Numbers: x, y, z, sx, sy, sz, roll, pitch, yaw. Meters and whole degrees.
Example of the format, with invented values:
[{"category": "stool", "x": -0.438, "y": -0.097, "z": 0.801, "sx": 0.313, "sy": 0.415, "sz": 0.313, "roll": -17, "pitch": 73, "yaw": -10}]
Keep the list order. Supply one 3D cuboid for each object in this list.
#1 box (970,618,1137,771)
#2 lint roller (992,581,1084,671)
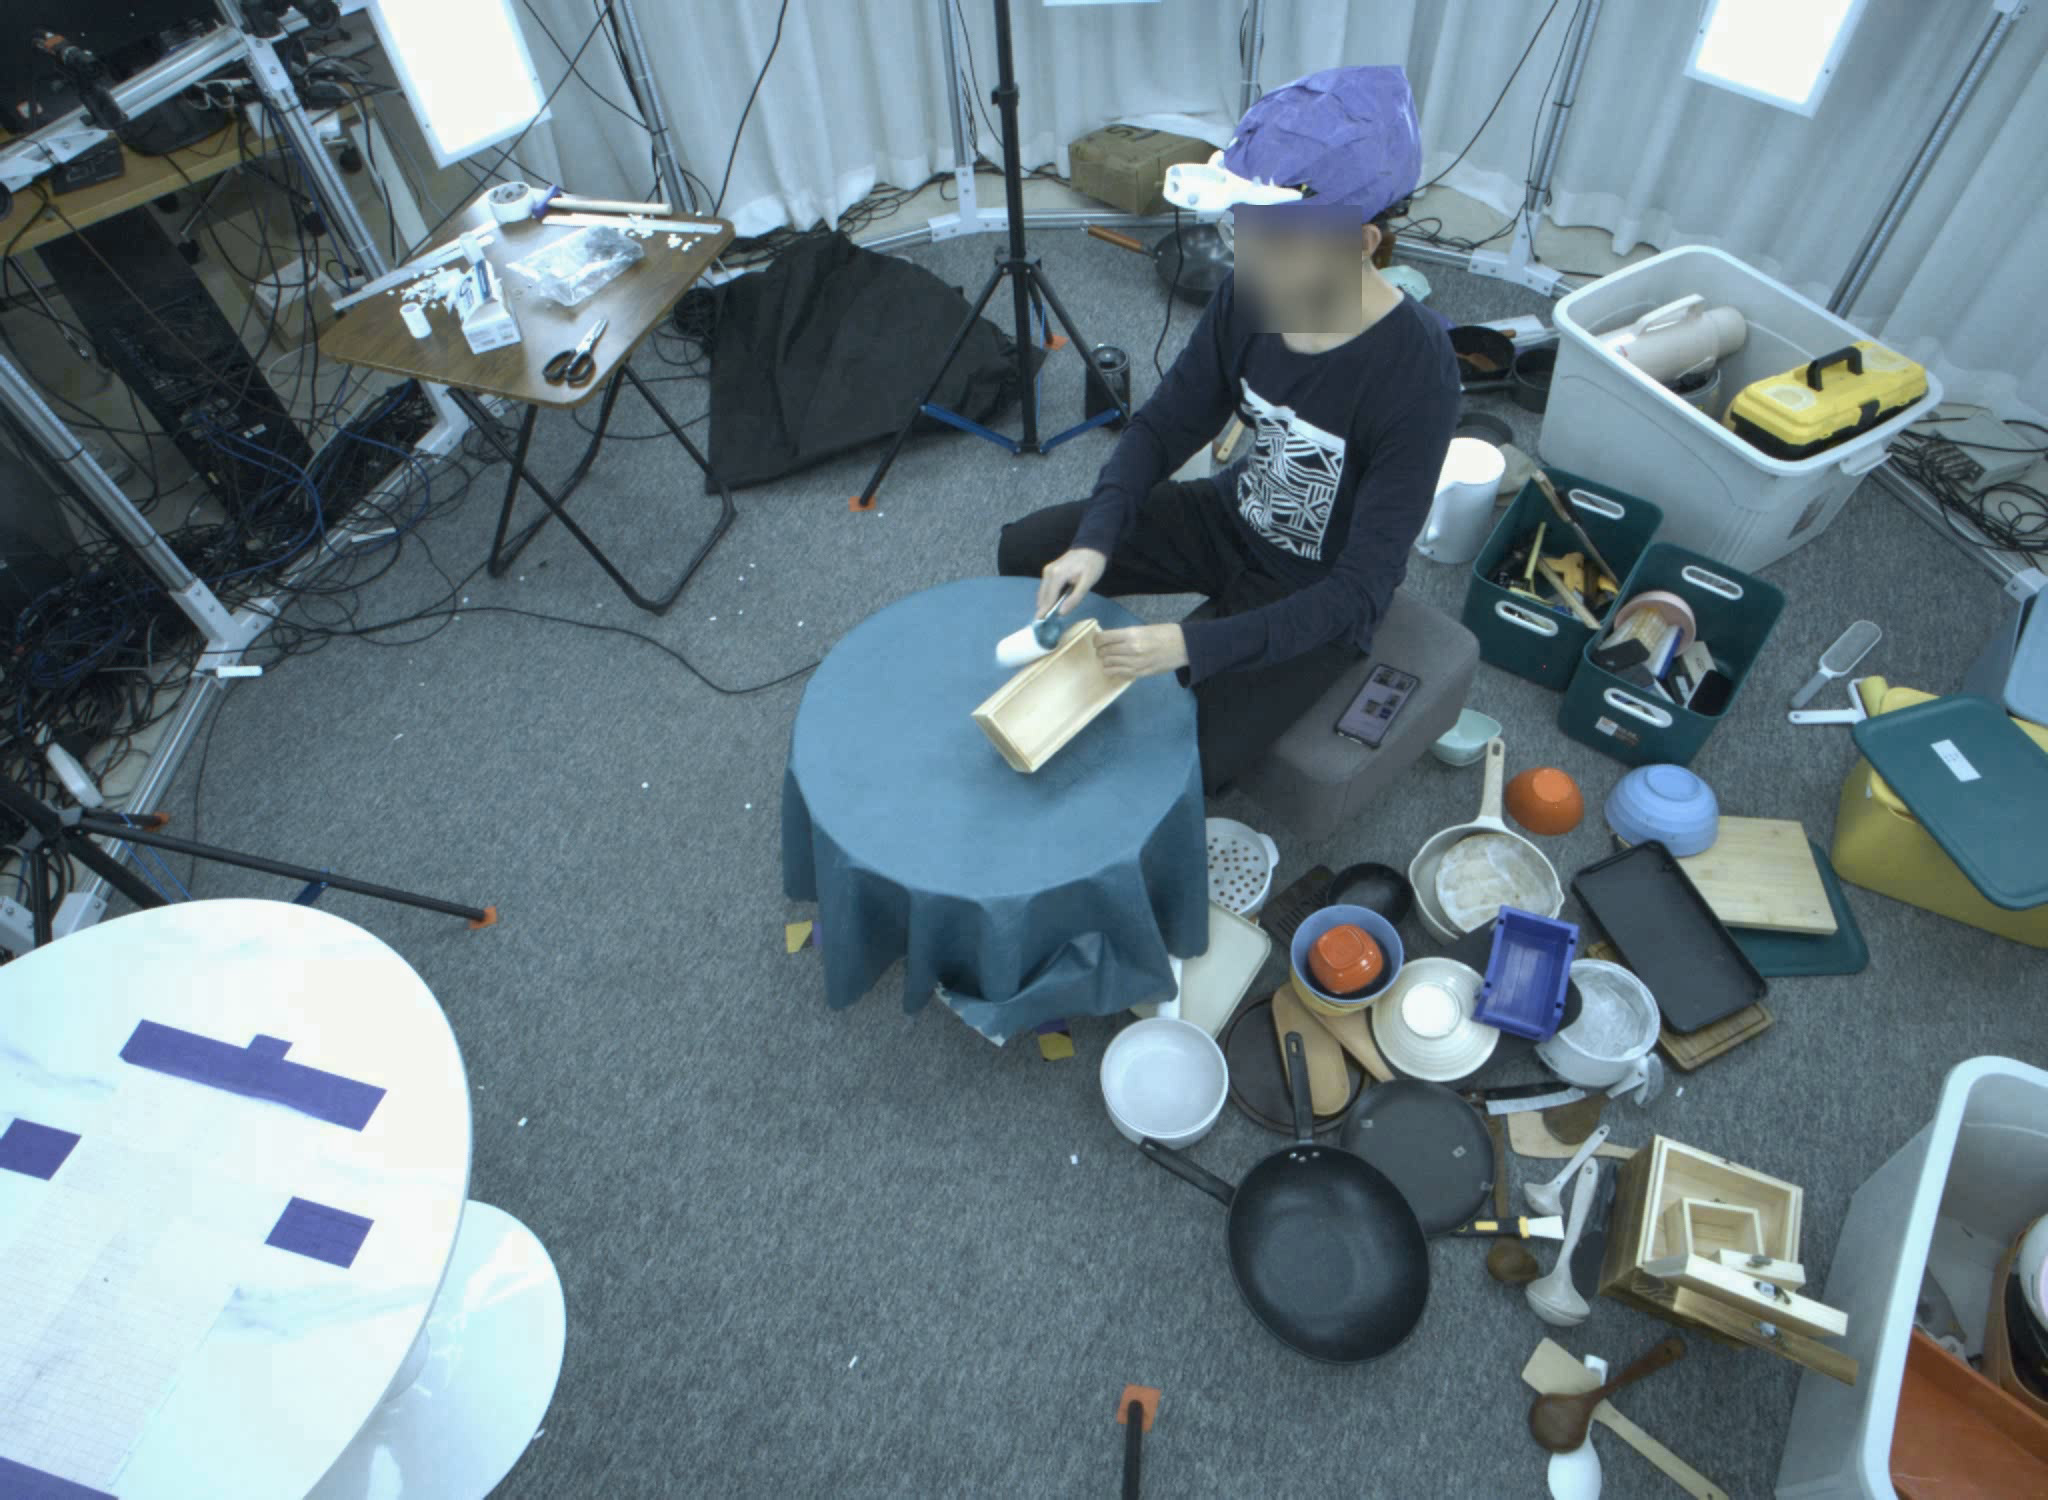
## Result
[{"category": "box", "x": 0.042, "y": -0.079, "z": 1.753, "sx": 0.212, "sy": 0.079, "sz": 0.108, "roll": -43, "pitch": 104, "yaw": -16}, {"category": "lint roller", "x": 0.030, "y": -0.197, "z": 1.790, "sx": 0.049, "sy": 0.132, "sz": 0.180, "roll": 42, "pitch": 61, "yaw": -19}]
